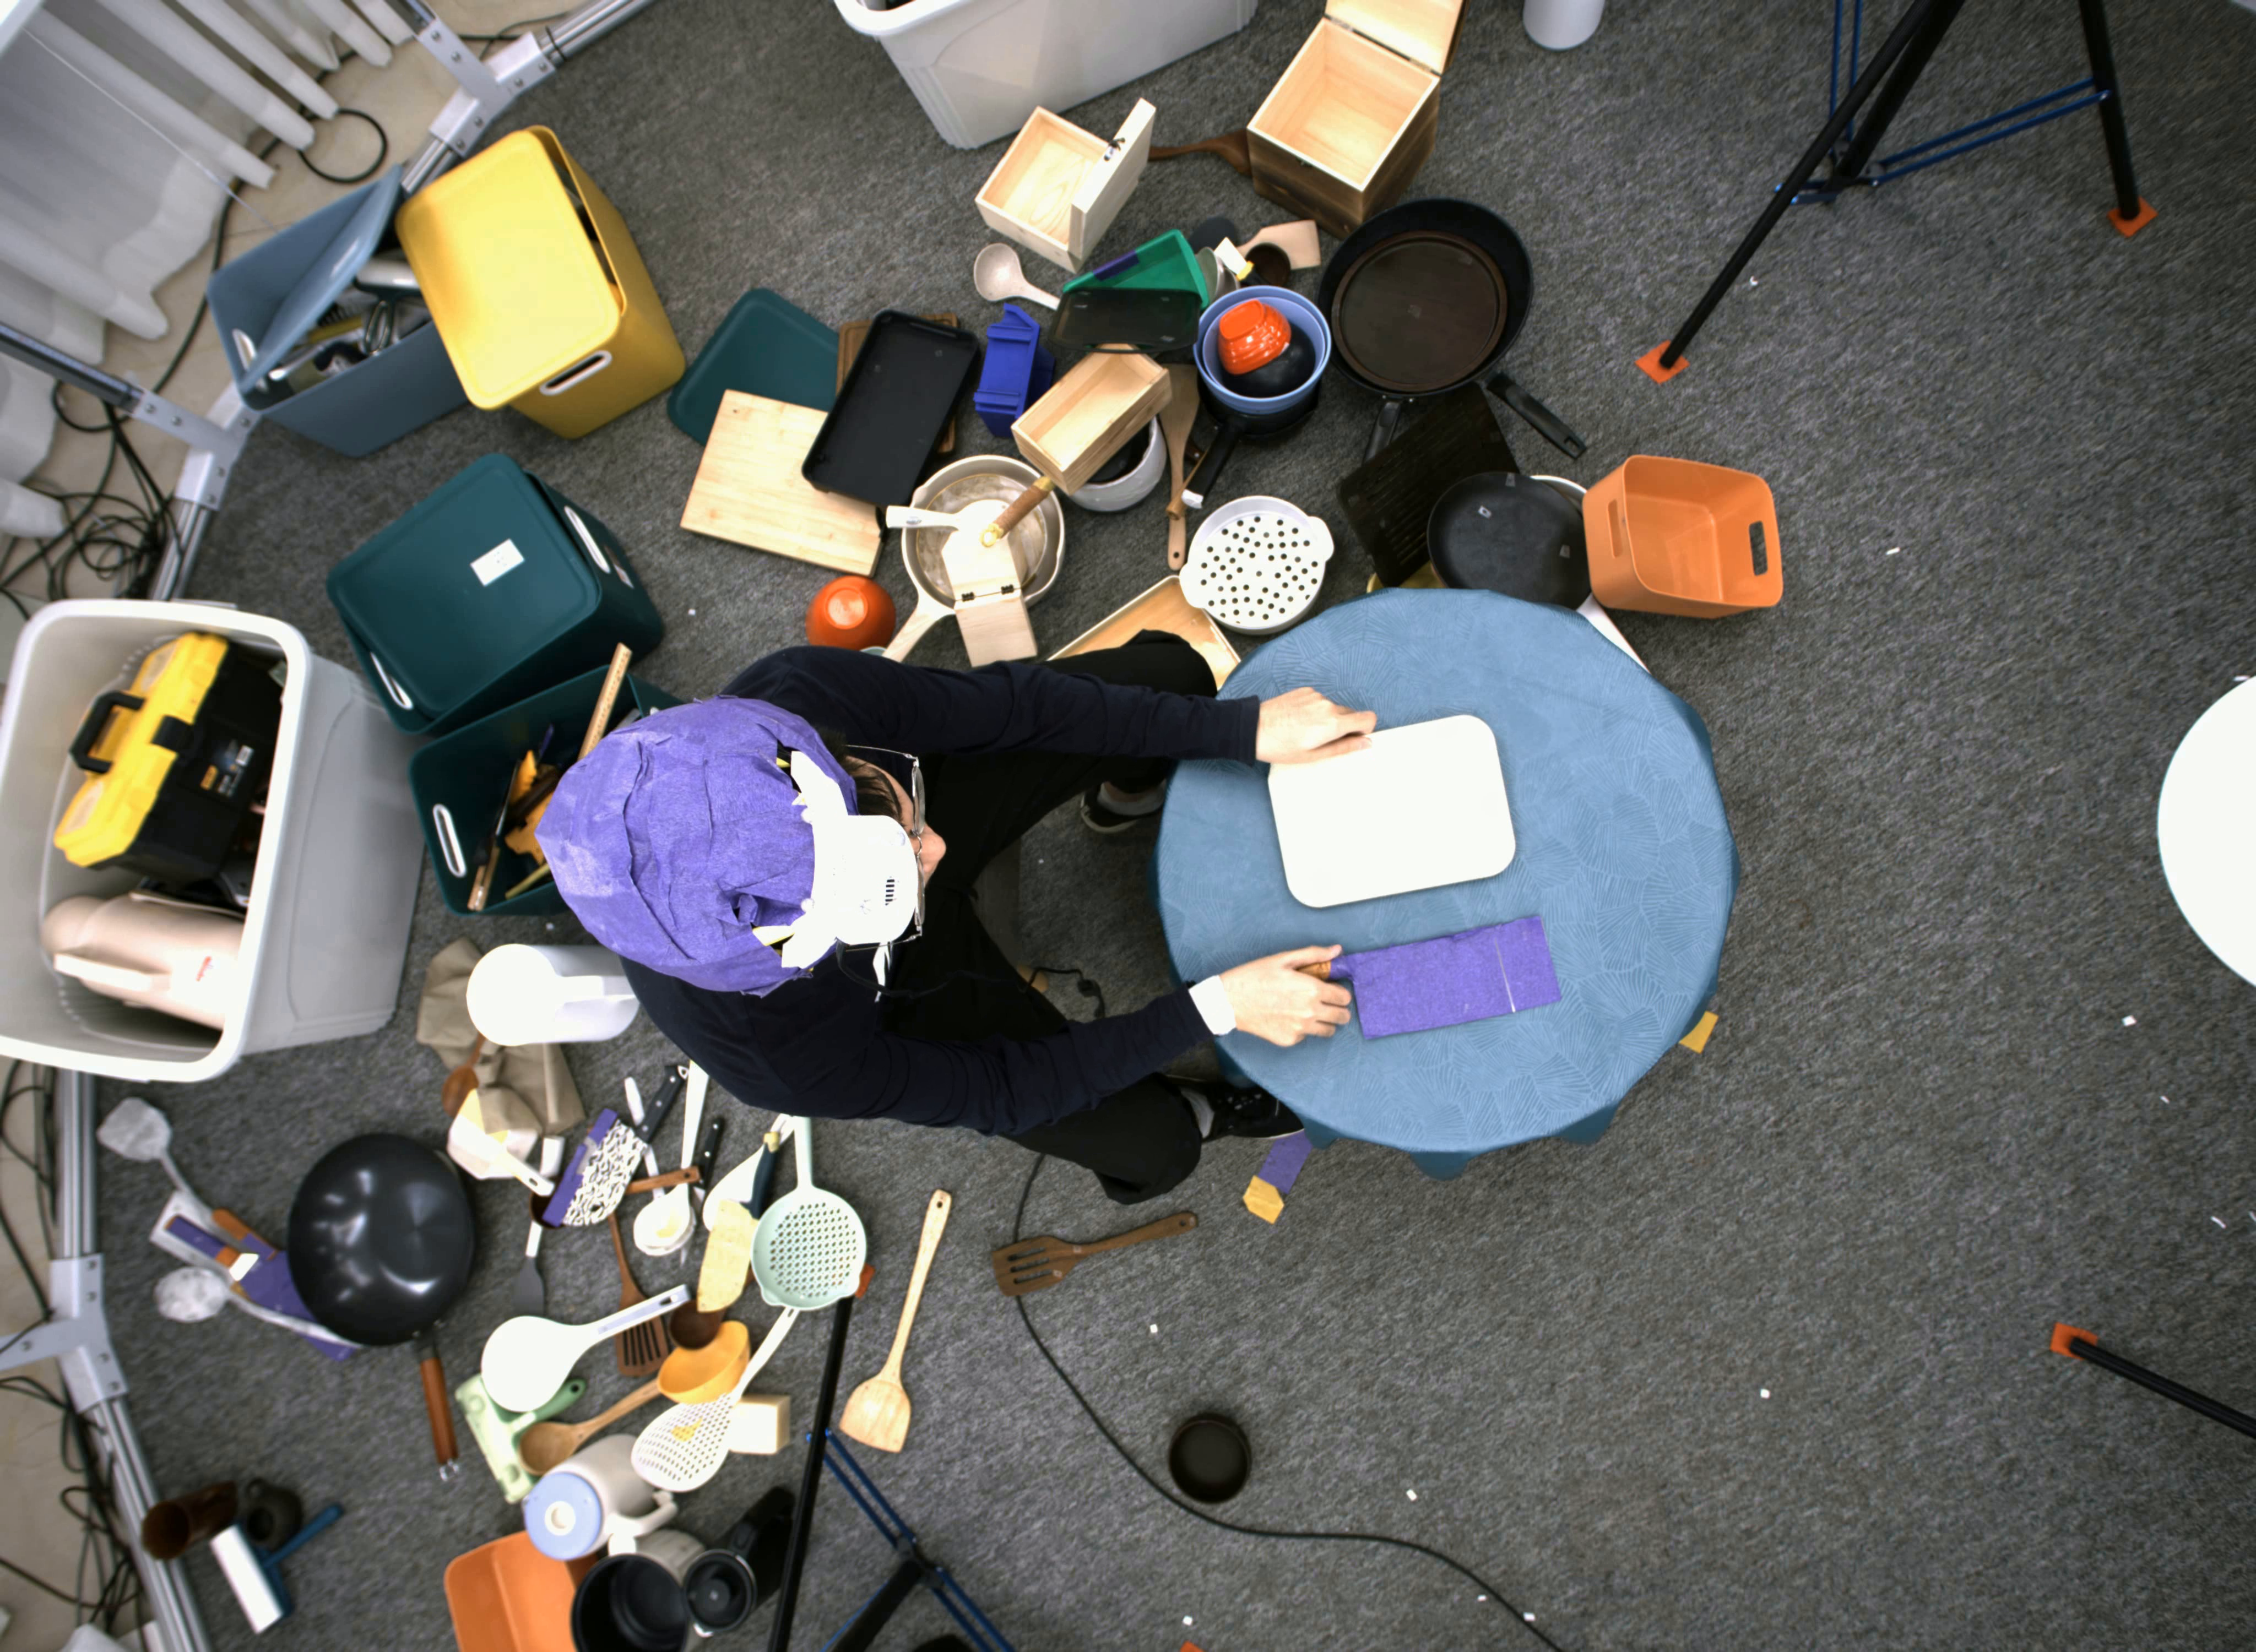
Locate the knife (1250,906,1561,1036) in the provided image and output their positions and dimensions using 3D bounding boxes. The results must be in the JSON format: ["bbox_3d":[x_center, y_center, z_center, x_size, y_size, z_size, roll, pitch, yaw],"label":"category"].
[{"bbox_3d":[0.288,0.164,1.438,0.317,0.032,0.103,-13,84,9],"label":"knife"}]

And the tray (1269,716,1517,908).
[{"bbox_3d":[0.277,-0.016,1.448,0.241,0.017,0.171,-11,91,10],"label":"tray"}]
